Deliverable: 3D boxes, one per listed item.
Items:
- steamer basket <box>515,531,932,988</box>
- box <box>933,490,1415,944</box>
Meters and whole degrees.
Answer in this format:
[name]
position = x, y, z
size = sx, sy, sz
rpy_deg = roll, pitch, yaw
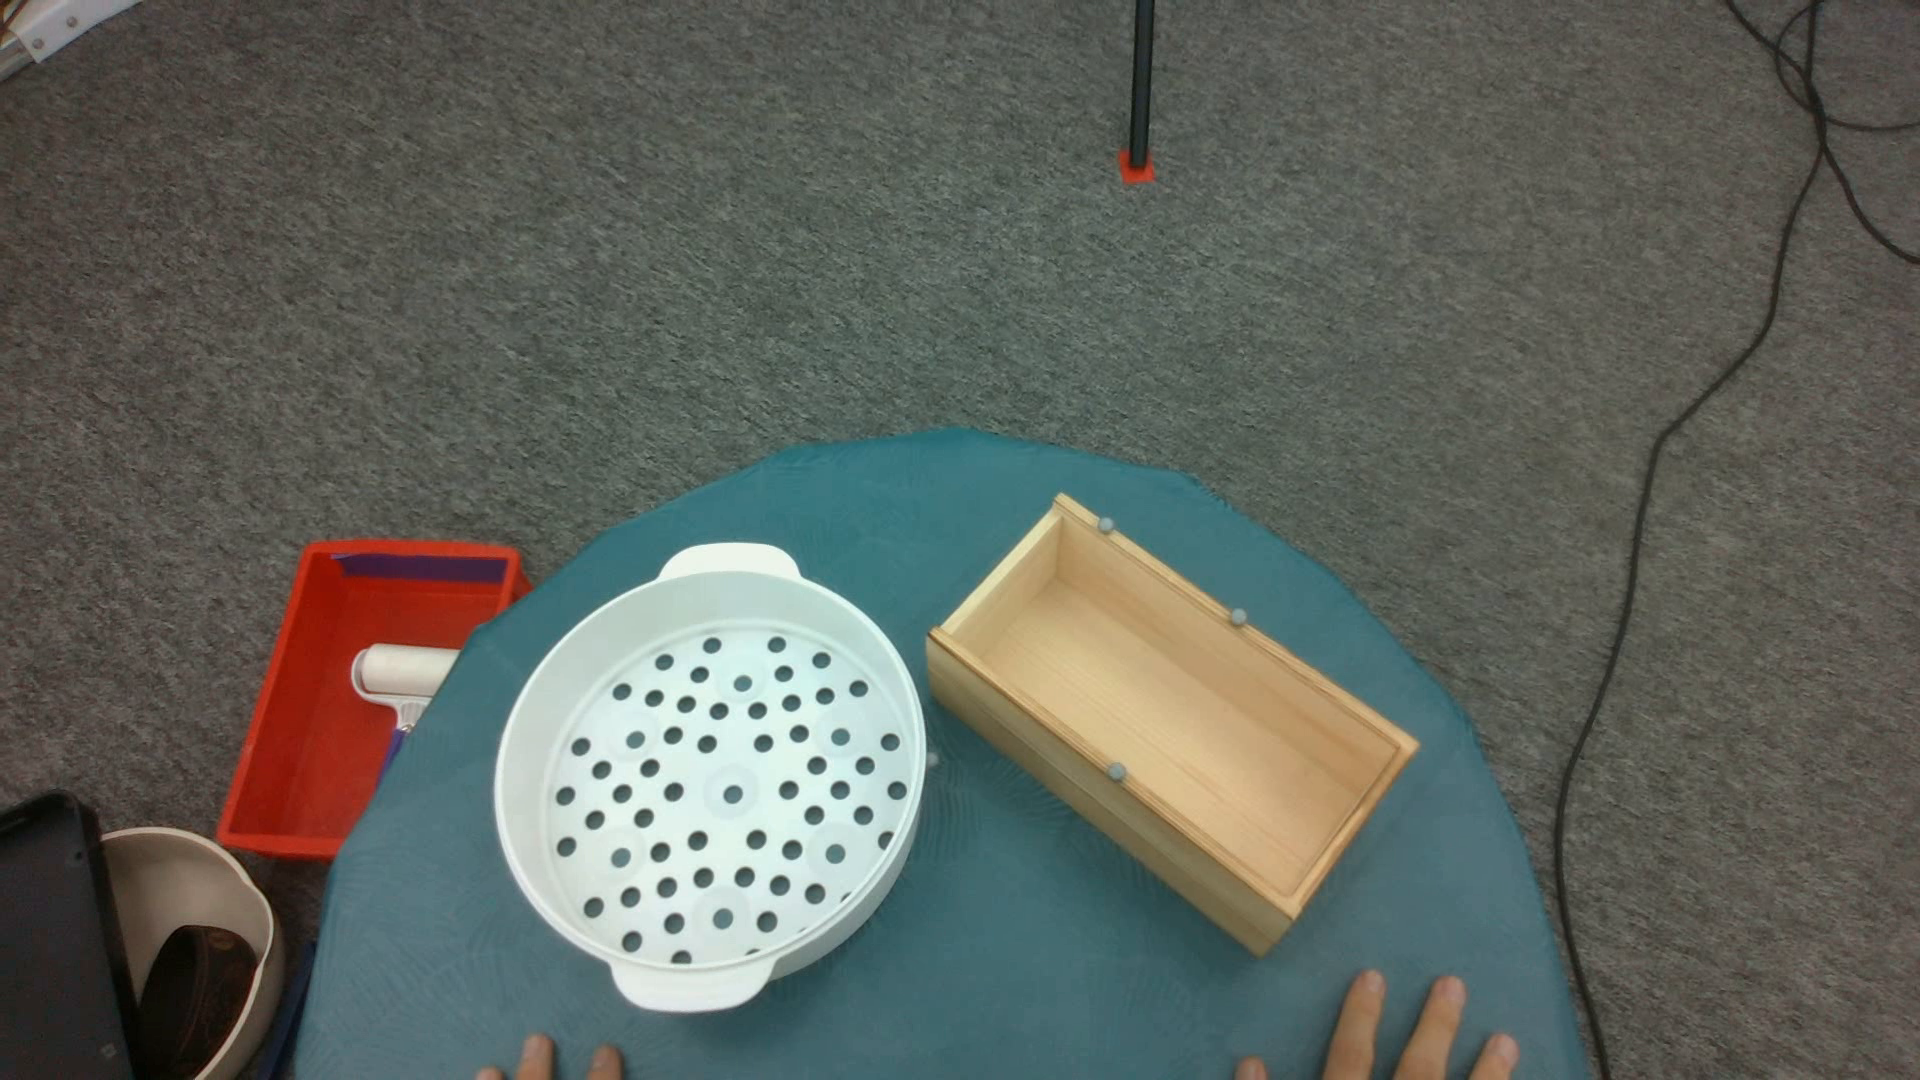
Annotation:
[steamer basket]
position = -0.113, 0.110, 0.691
size = 0.202, 0.069, 0.231
rpy_deg = 0, 62, 1
[box]
position = 0.101, 0.086, 0.693
size = 0.211, 0.080, 0.108
rpy_deg = 36, 68, 19
